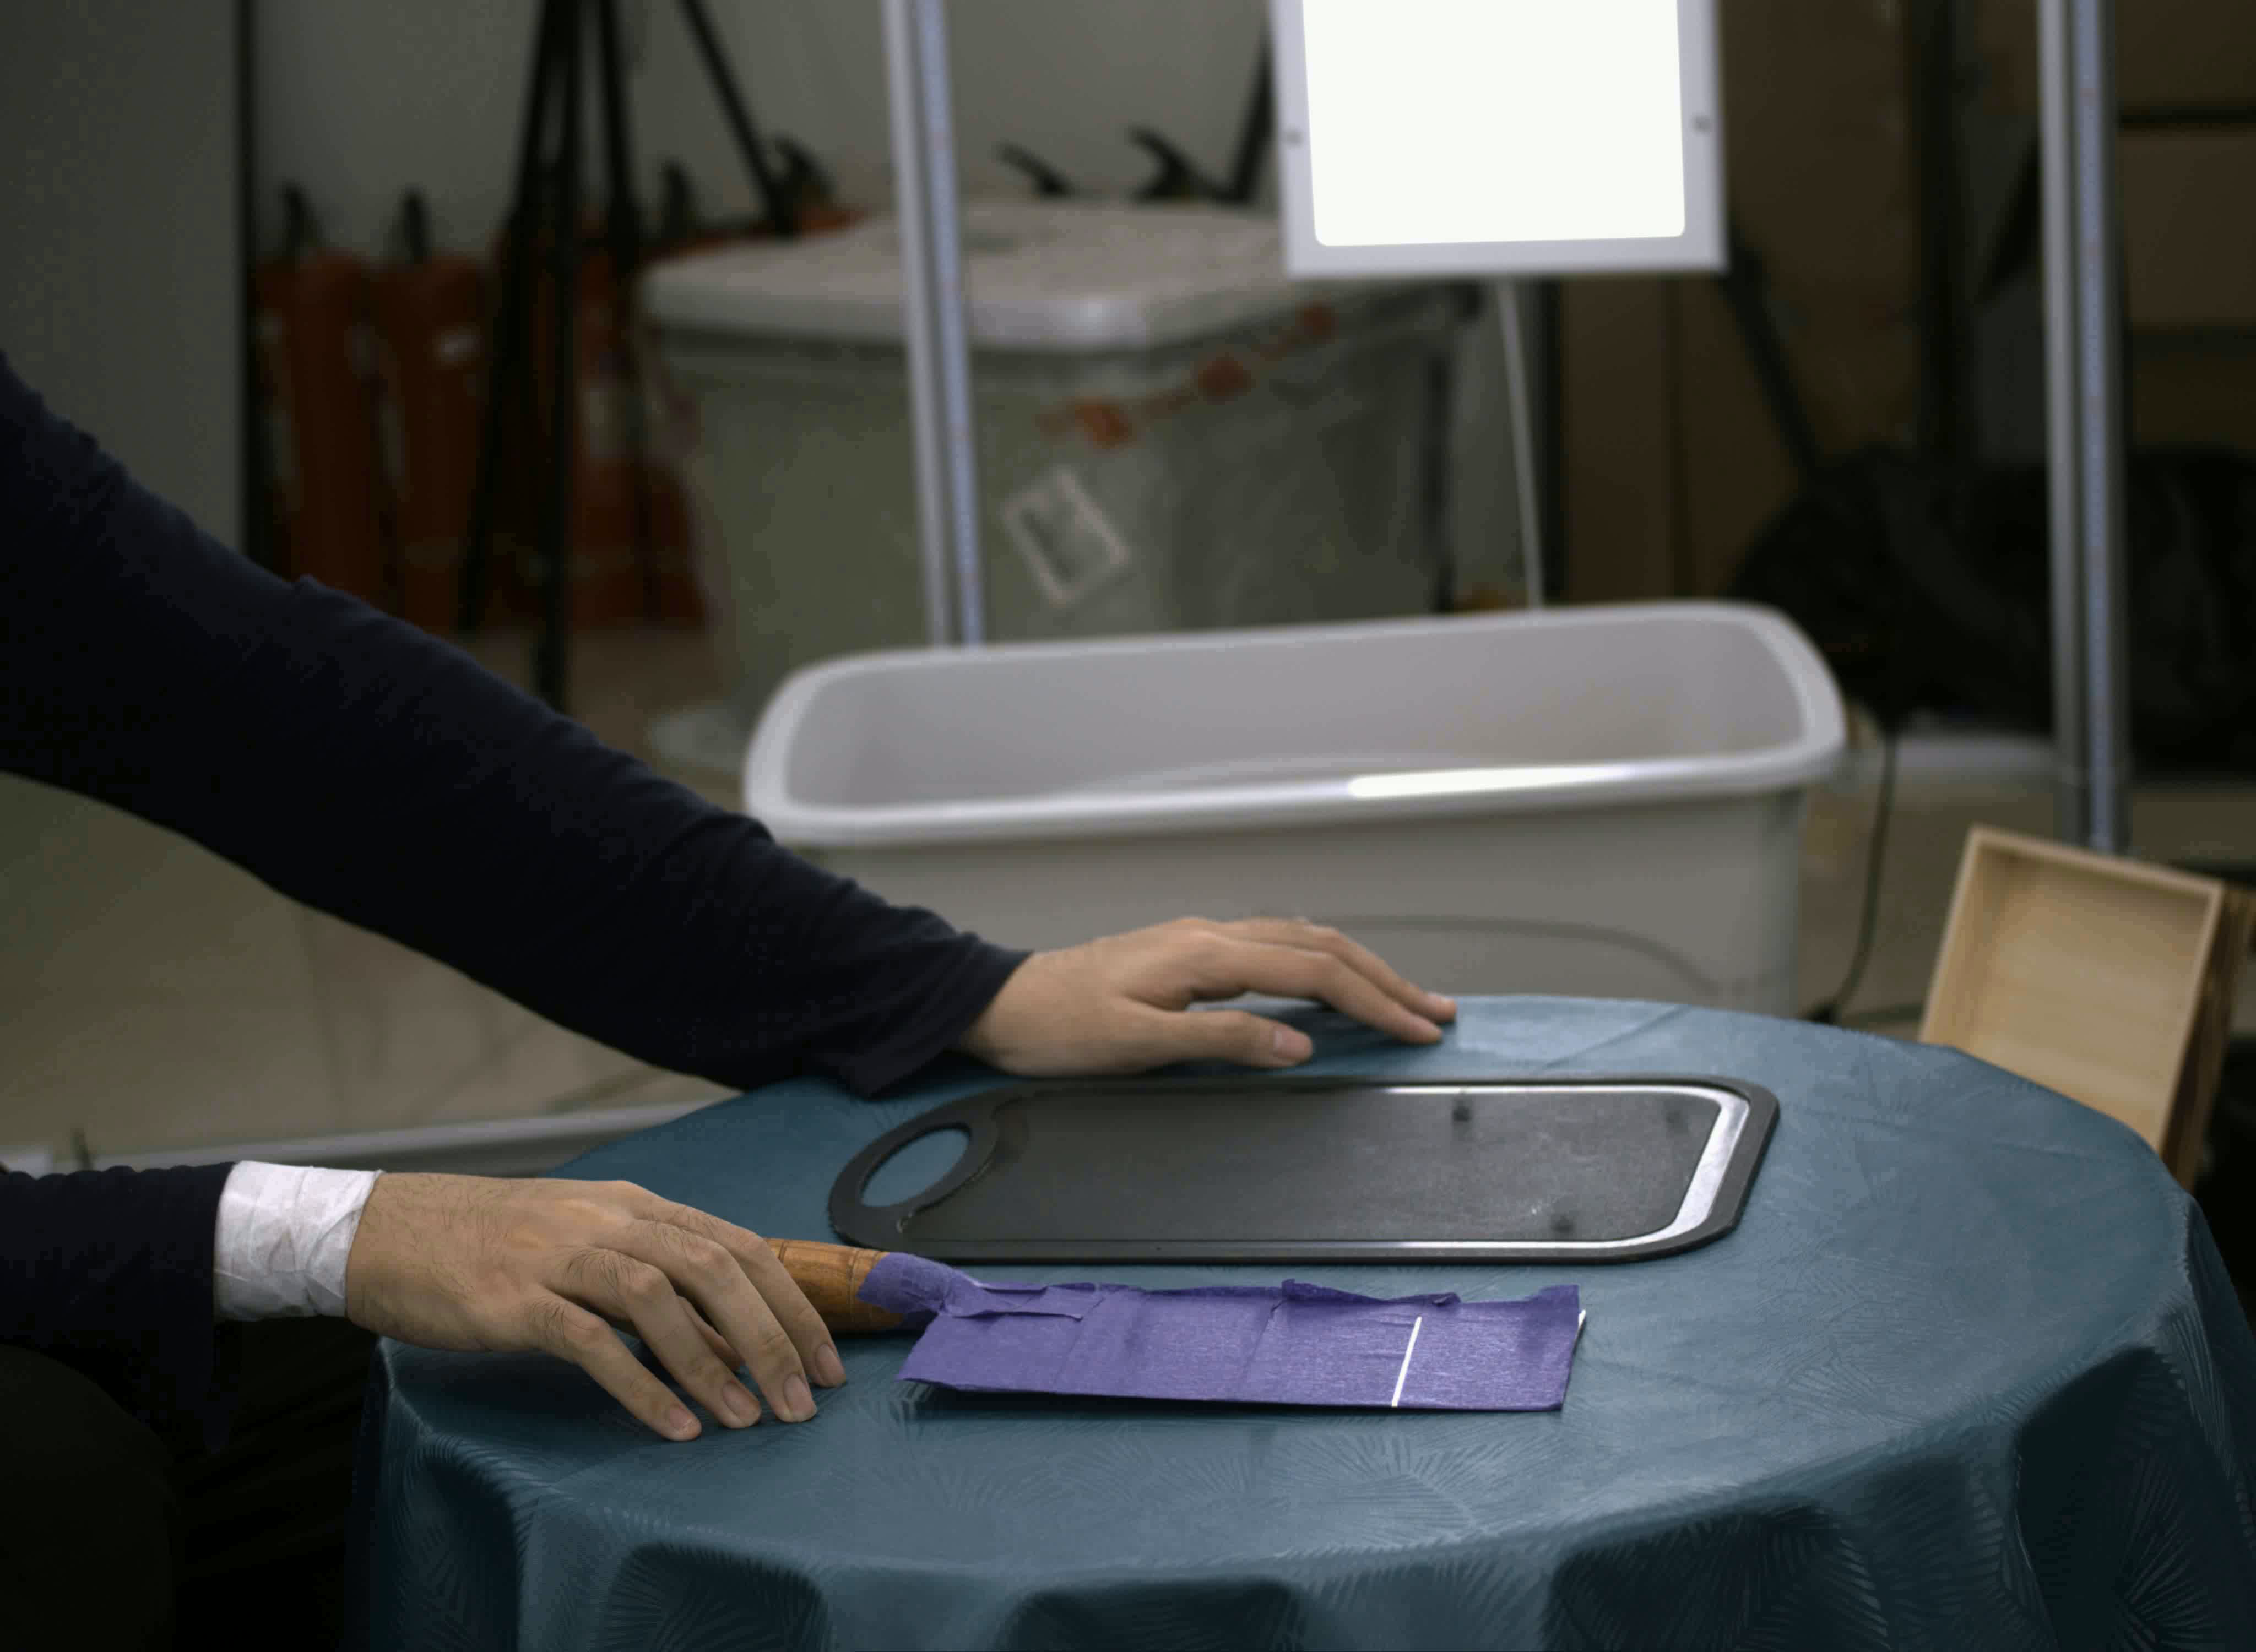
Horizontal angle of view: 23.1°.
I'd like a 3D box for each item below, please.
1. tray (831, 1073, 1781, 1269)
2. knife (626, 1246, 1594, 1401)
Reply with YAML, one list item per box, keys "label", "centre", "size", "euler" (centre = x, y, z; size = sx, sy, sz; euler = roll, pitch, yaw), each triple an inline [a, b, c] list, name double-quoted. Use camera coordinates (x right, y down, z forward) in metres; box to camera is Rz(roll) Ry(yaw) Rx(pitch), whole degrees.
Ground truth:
- label: "tray"
  centre: [0.058, 0.116, 1.910]
  size: [0.329, 0.010, 0.208]
  euler: [-1, 14, 16]
- label: "knife"
  centre: [-0.013, 0.156, 1.729]
  size: [0.318, 0.032, 0.102]
  euler: [-1, 14, 14]
